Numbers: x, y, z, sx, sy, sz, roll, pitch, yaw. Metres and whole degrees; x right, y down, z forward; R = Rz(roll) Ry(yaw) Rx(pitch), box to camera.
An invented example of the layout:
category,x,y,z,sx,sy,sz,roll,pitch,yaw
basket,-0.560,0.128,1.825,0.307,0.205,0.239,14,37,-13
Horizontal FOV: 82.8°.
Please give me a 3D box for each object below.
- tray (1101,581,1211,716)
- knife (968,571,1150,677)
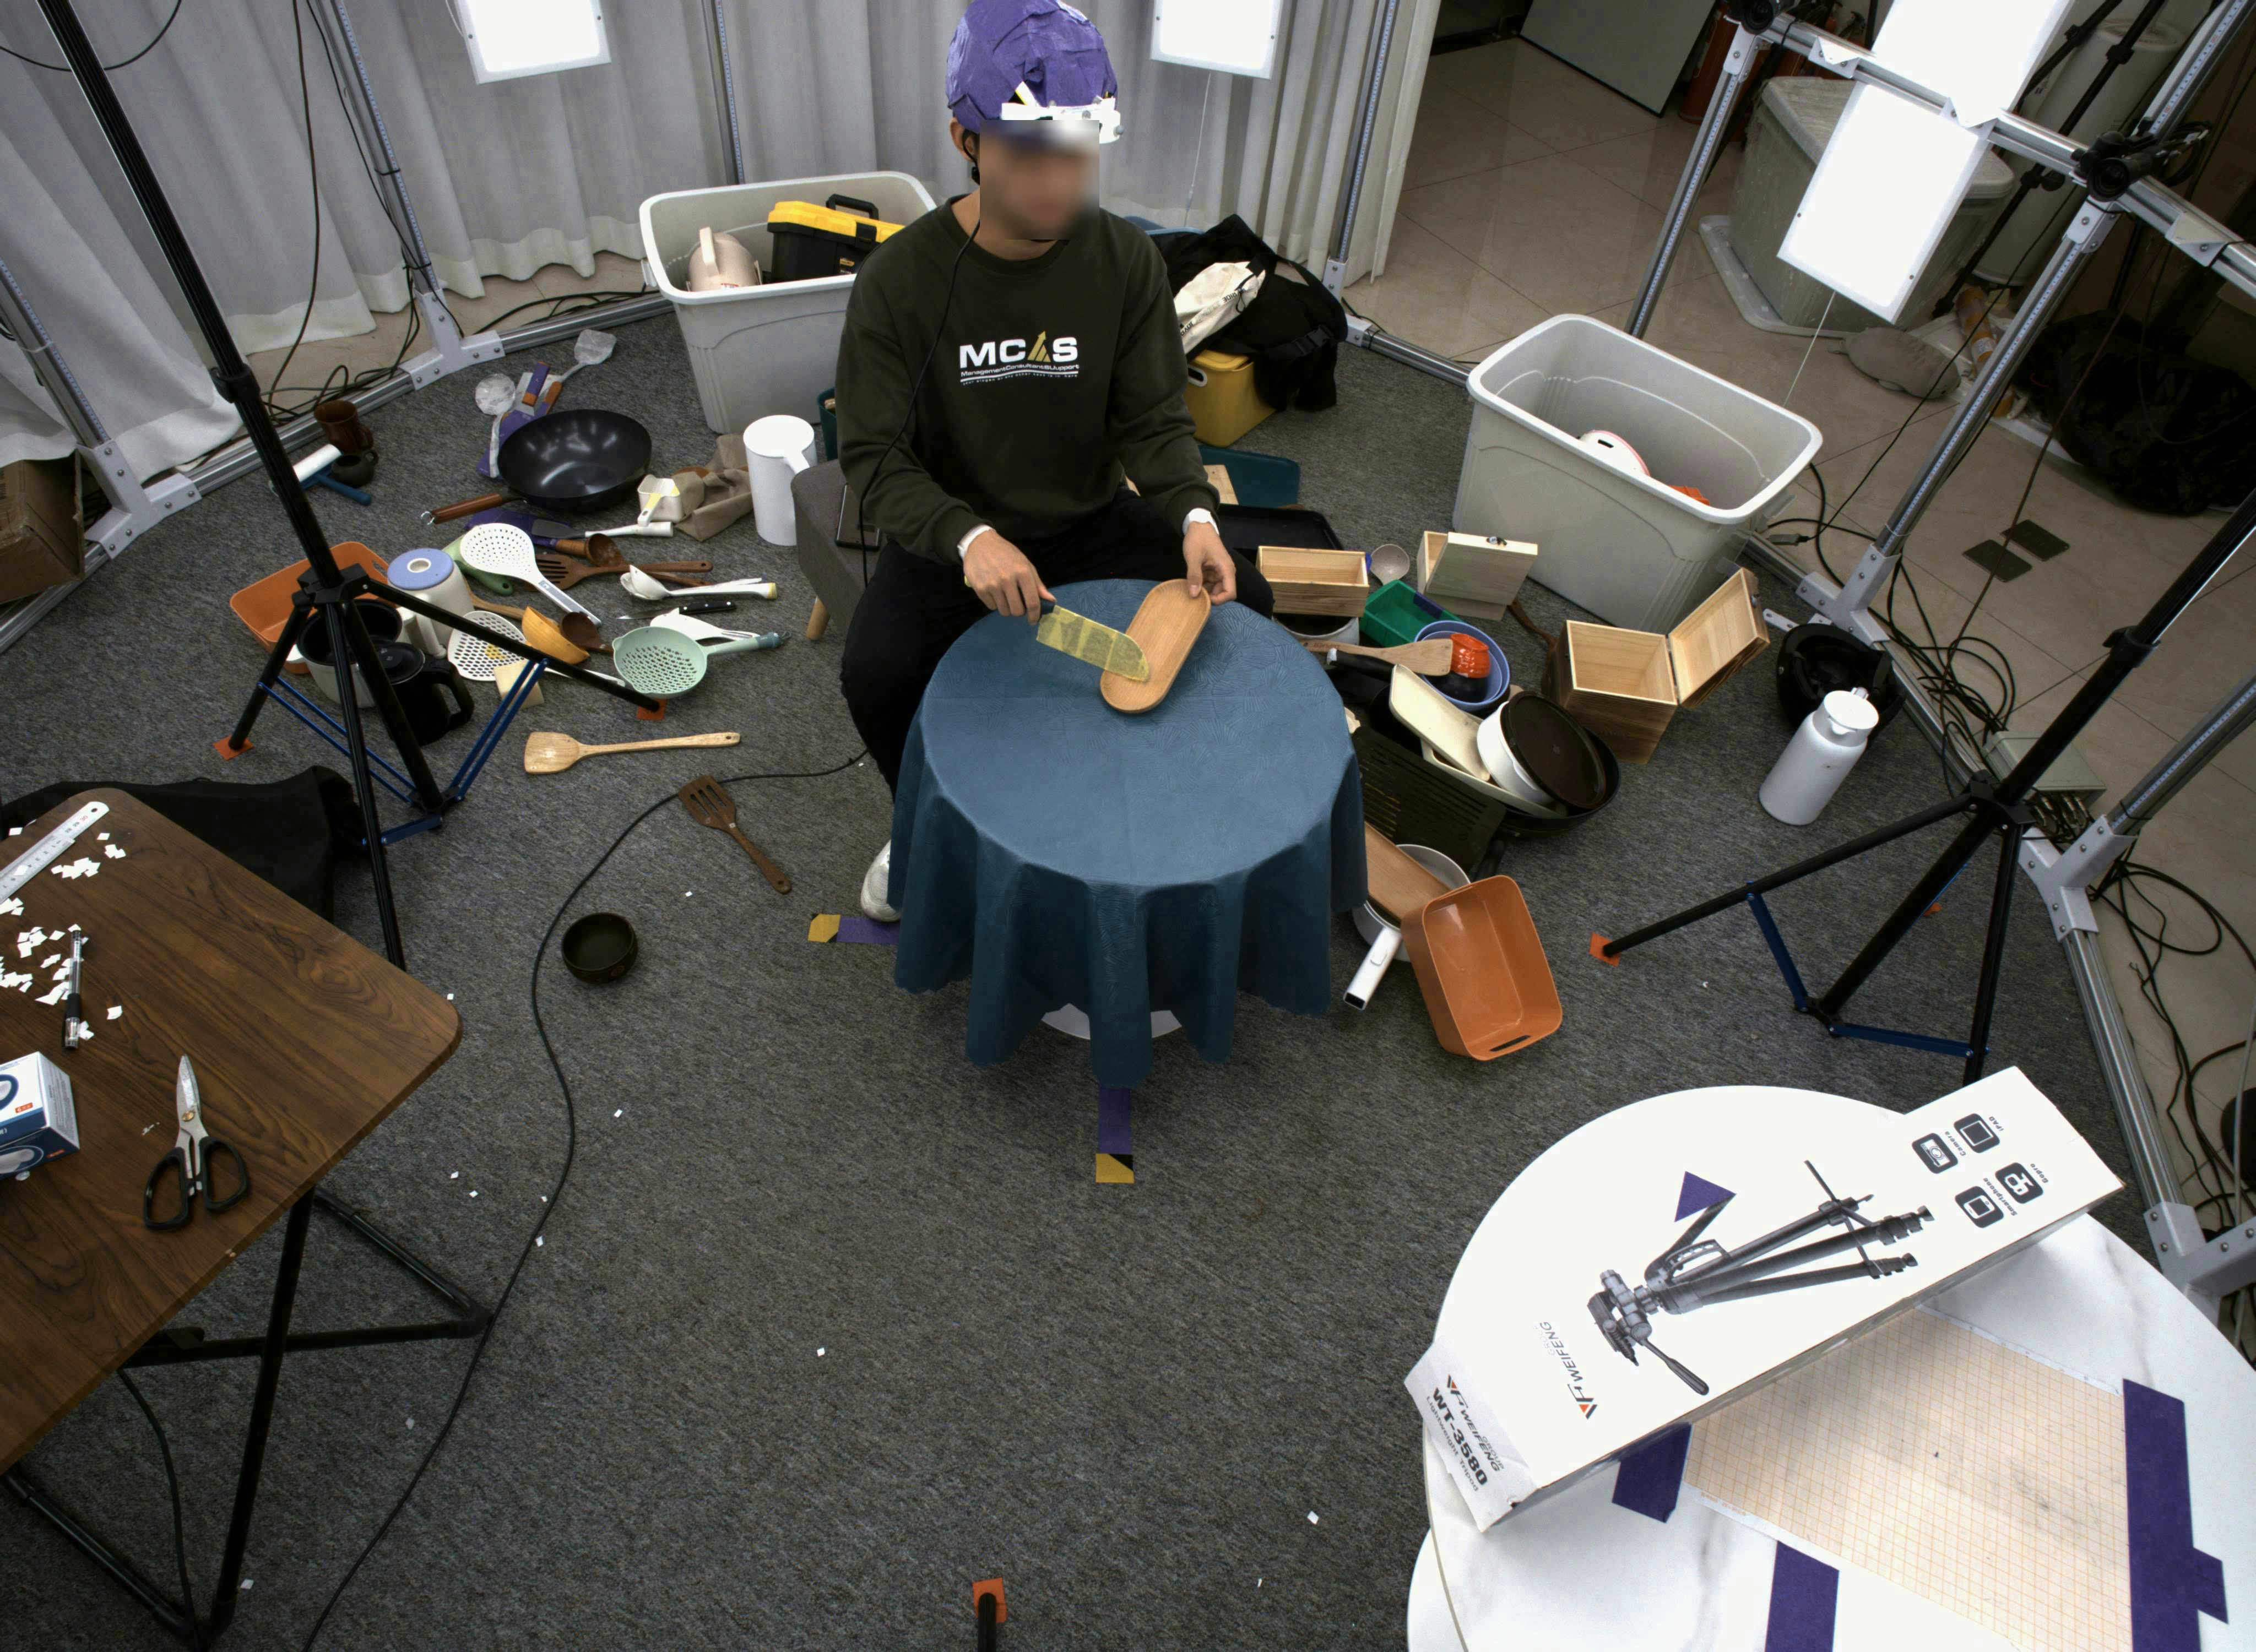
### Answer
category,x,y,z,sx,sy,sz,roll,pitch,yaw
tray,0.041,-0.256,1.837,0.102,0.020,0.234,19,69,24
knife,-0.098,-0.283,1.812,0.290,0.079,0.028,27,44,6
